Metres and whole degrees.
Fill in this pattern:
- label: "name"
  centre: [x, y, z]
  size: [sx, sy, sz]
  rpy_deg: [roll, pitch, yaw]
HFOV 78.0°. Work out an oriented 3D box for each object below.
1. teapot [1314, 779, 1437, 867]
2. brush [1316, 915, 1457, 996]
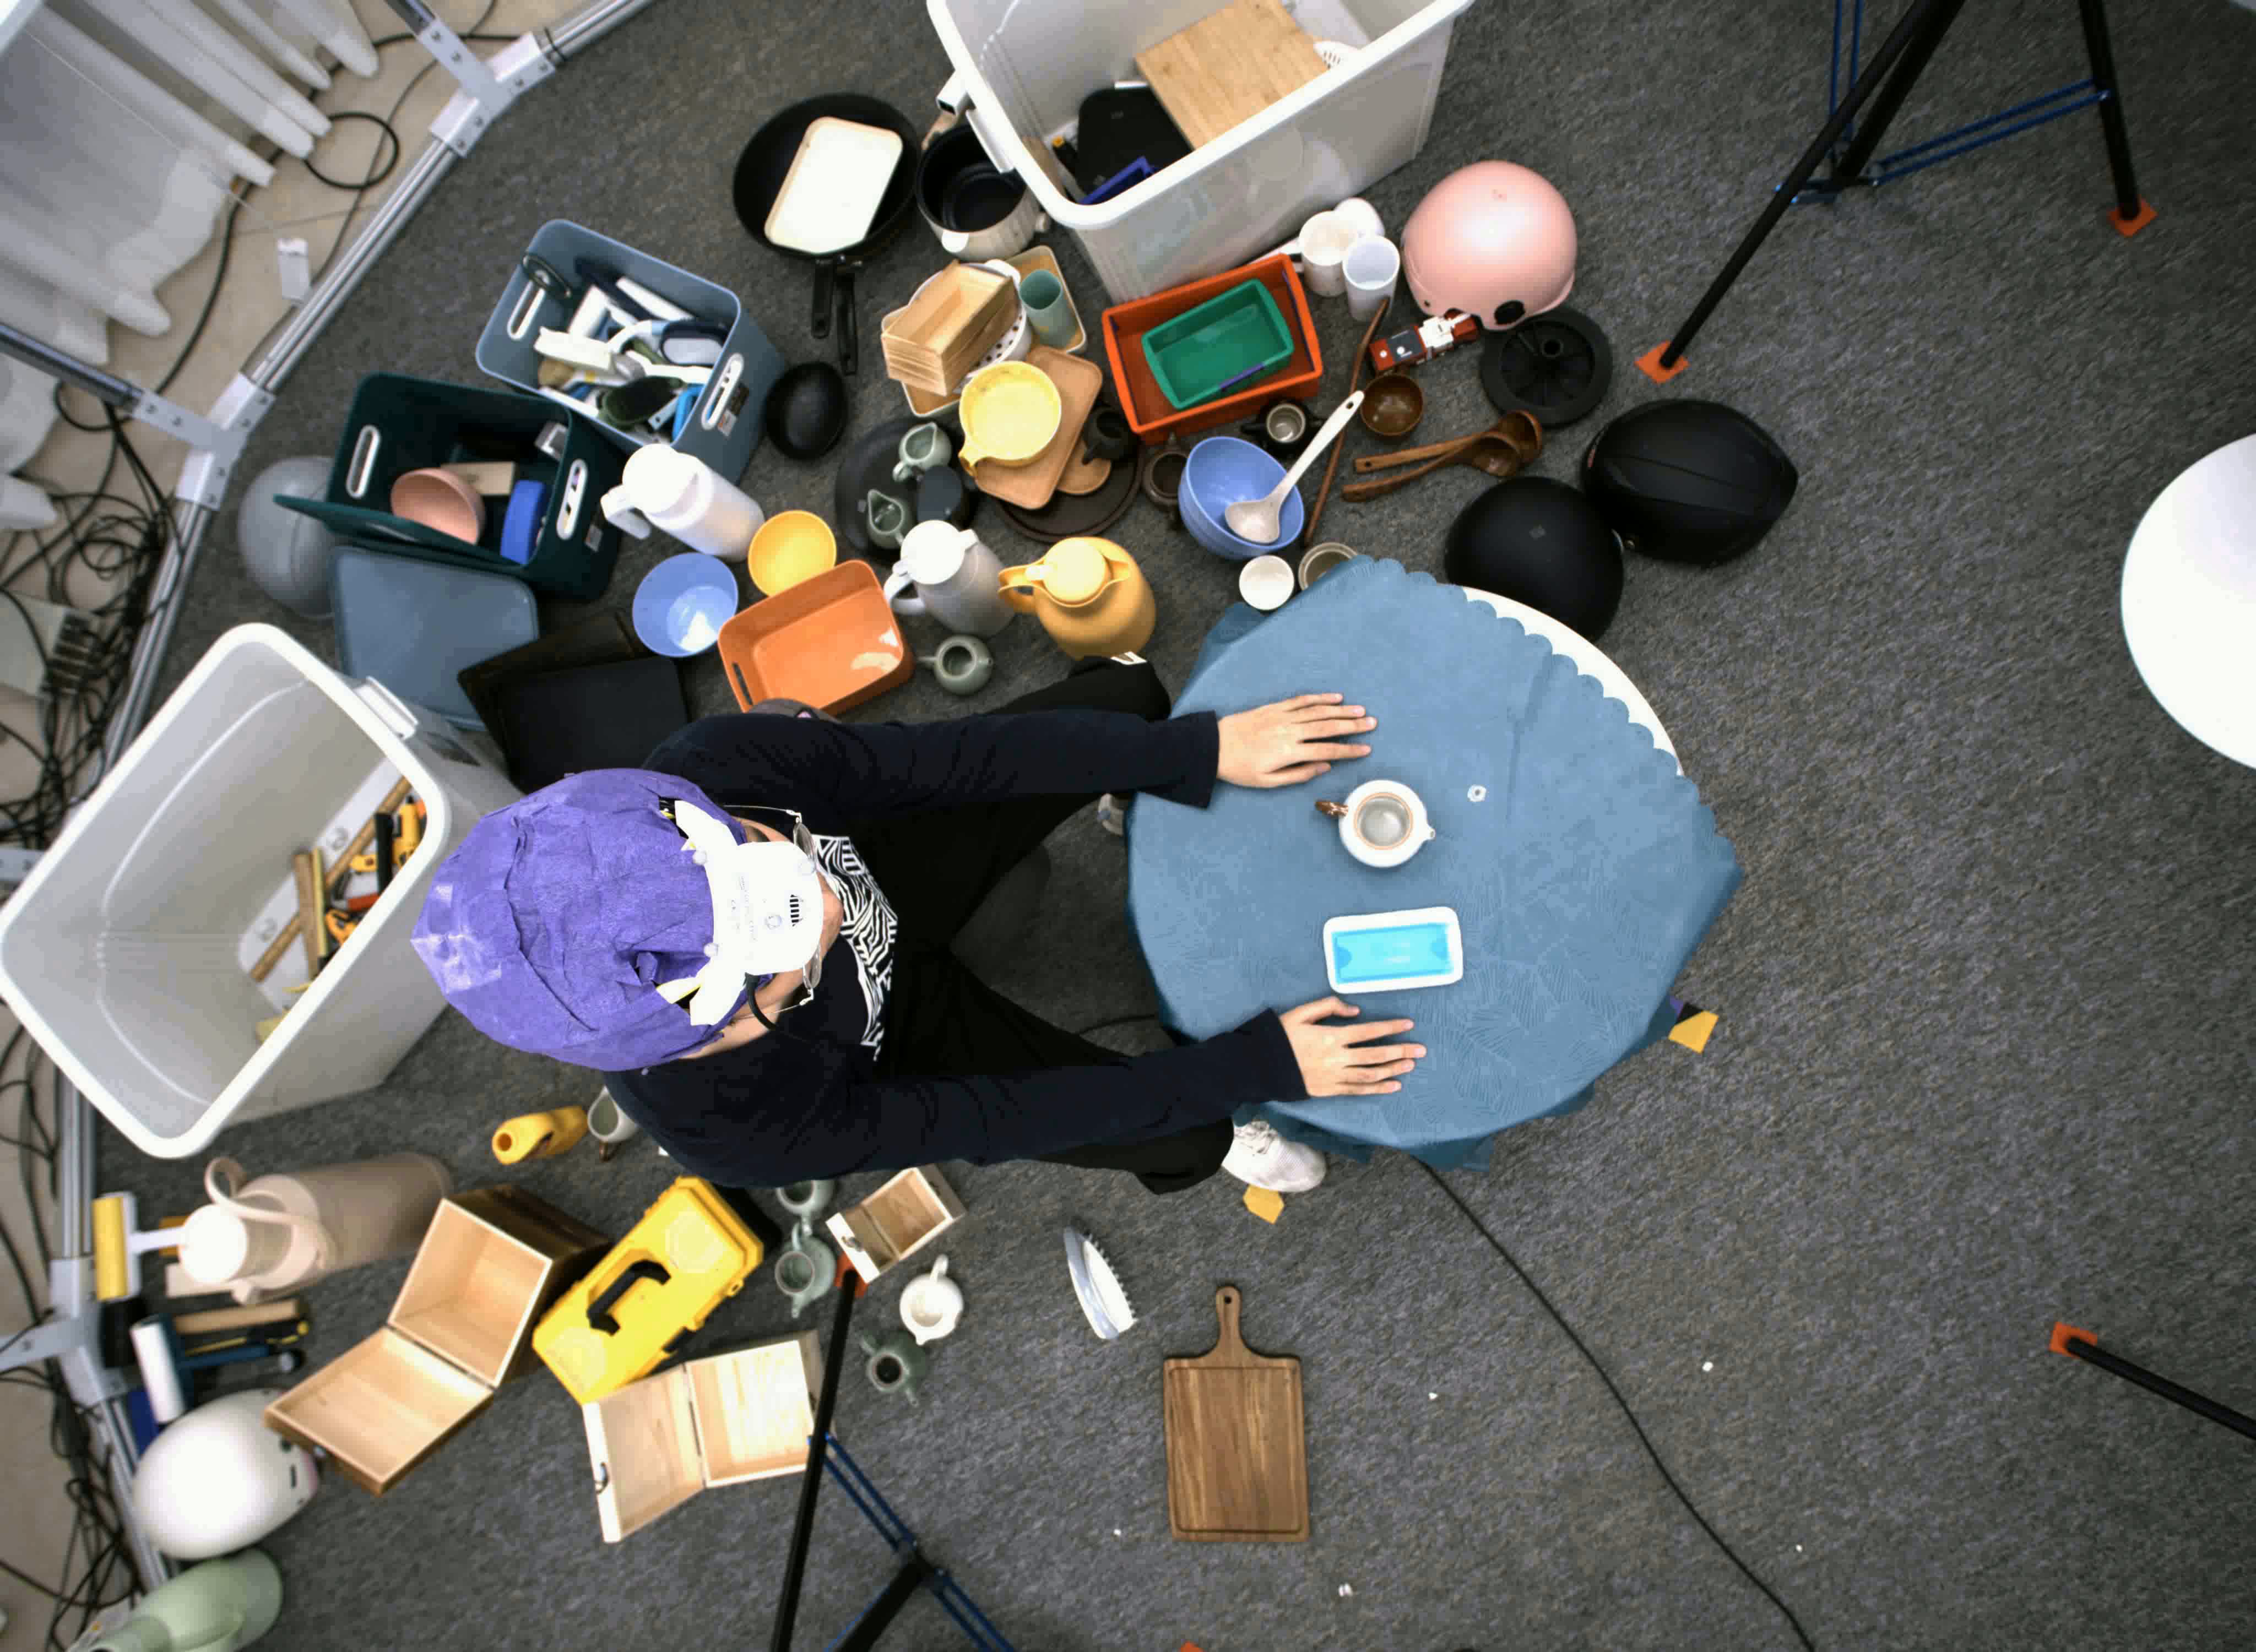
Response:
- label: "teapot"
  centre: [0.256, -0.007, 1.435]
  size: [0.128, 0.059, 0.092]
  rpy_deg: [13, 91, 9]
- label: "brush"
  centre: [0.266, 0.129, 1.425]
  size: [0.144, 0.056, 0.083]
  rpy_deg: [-4, 82, 8]
